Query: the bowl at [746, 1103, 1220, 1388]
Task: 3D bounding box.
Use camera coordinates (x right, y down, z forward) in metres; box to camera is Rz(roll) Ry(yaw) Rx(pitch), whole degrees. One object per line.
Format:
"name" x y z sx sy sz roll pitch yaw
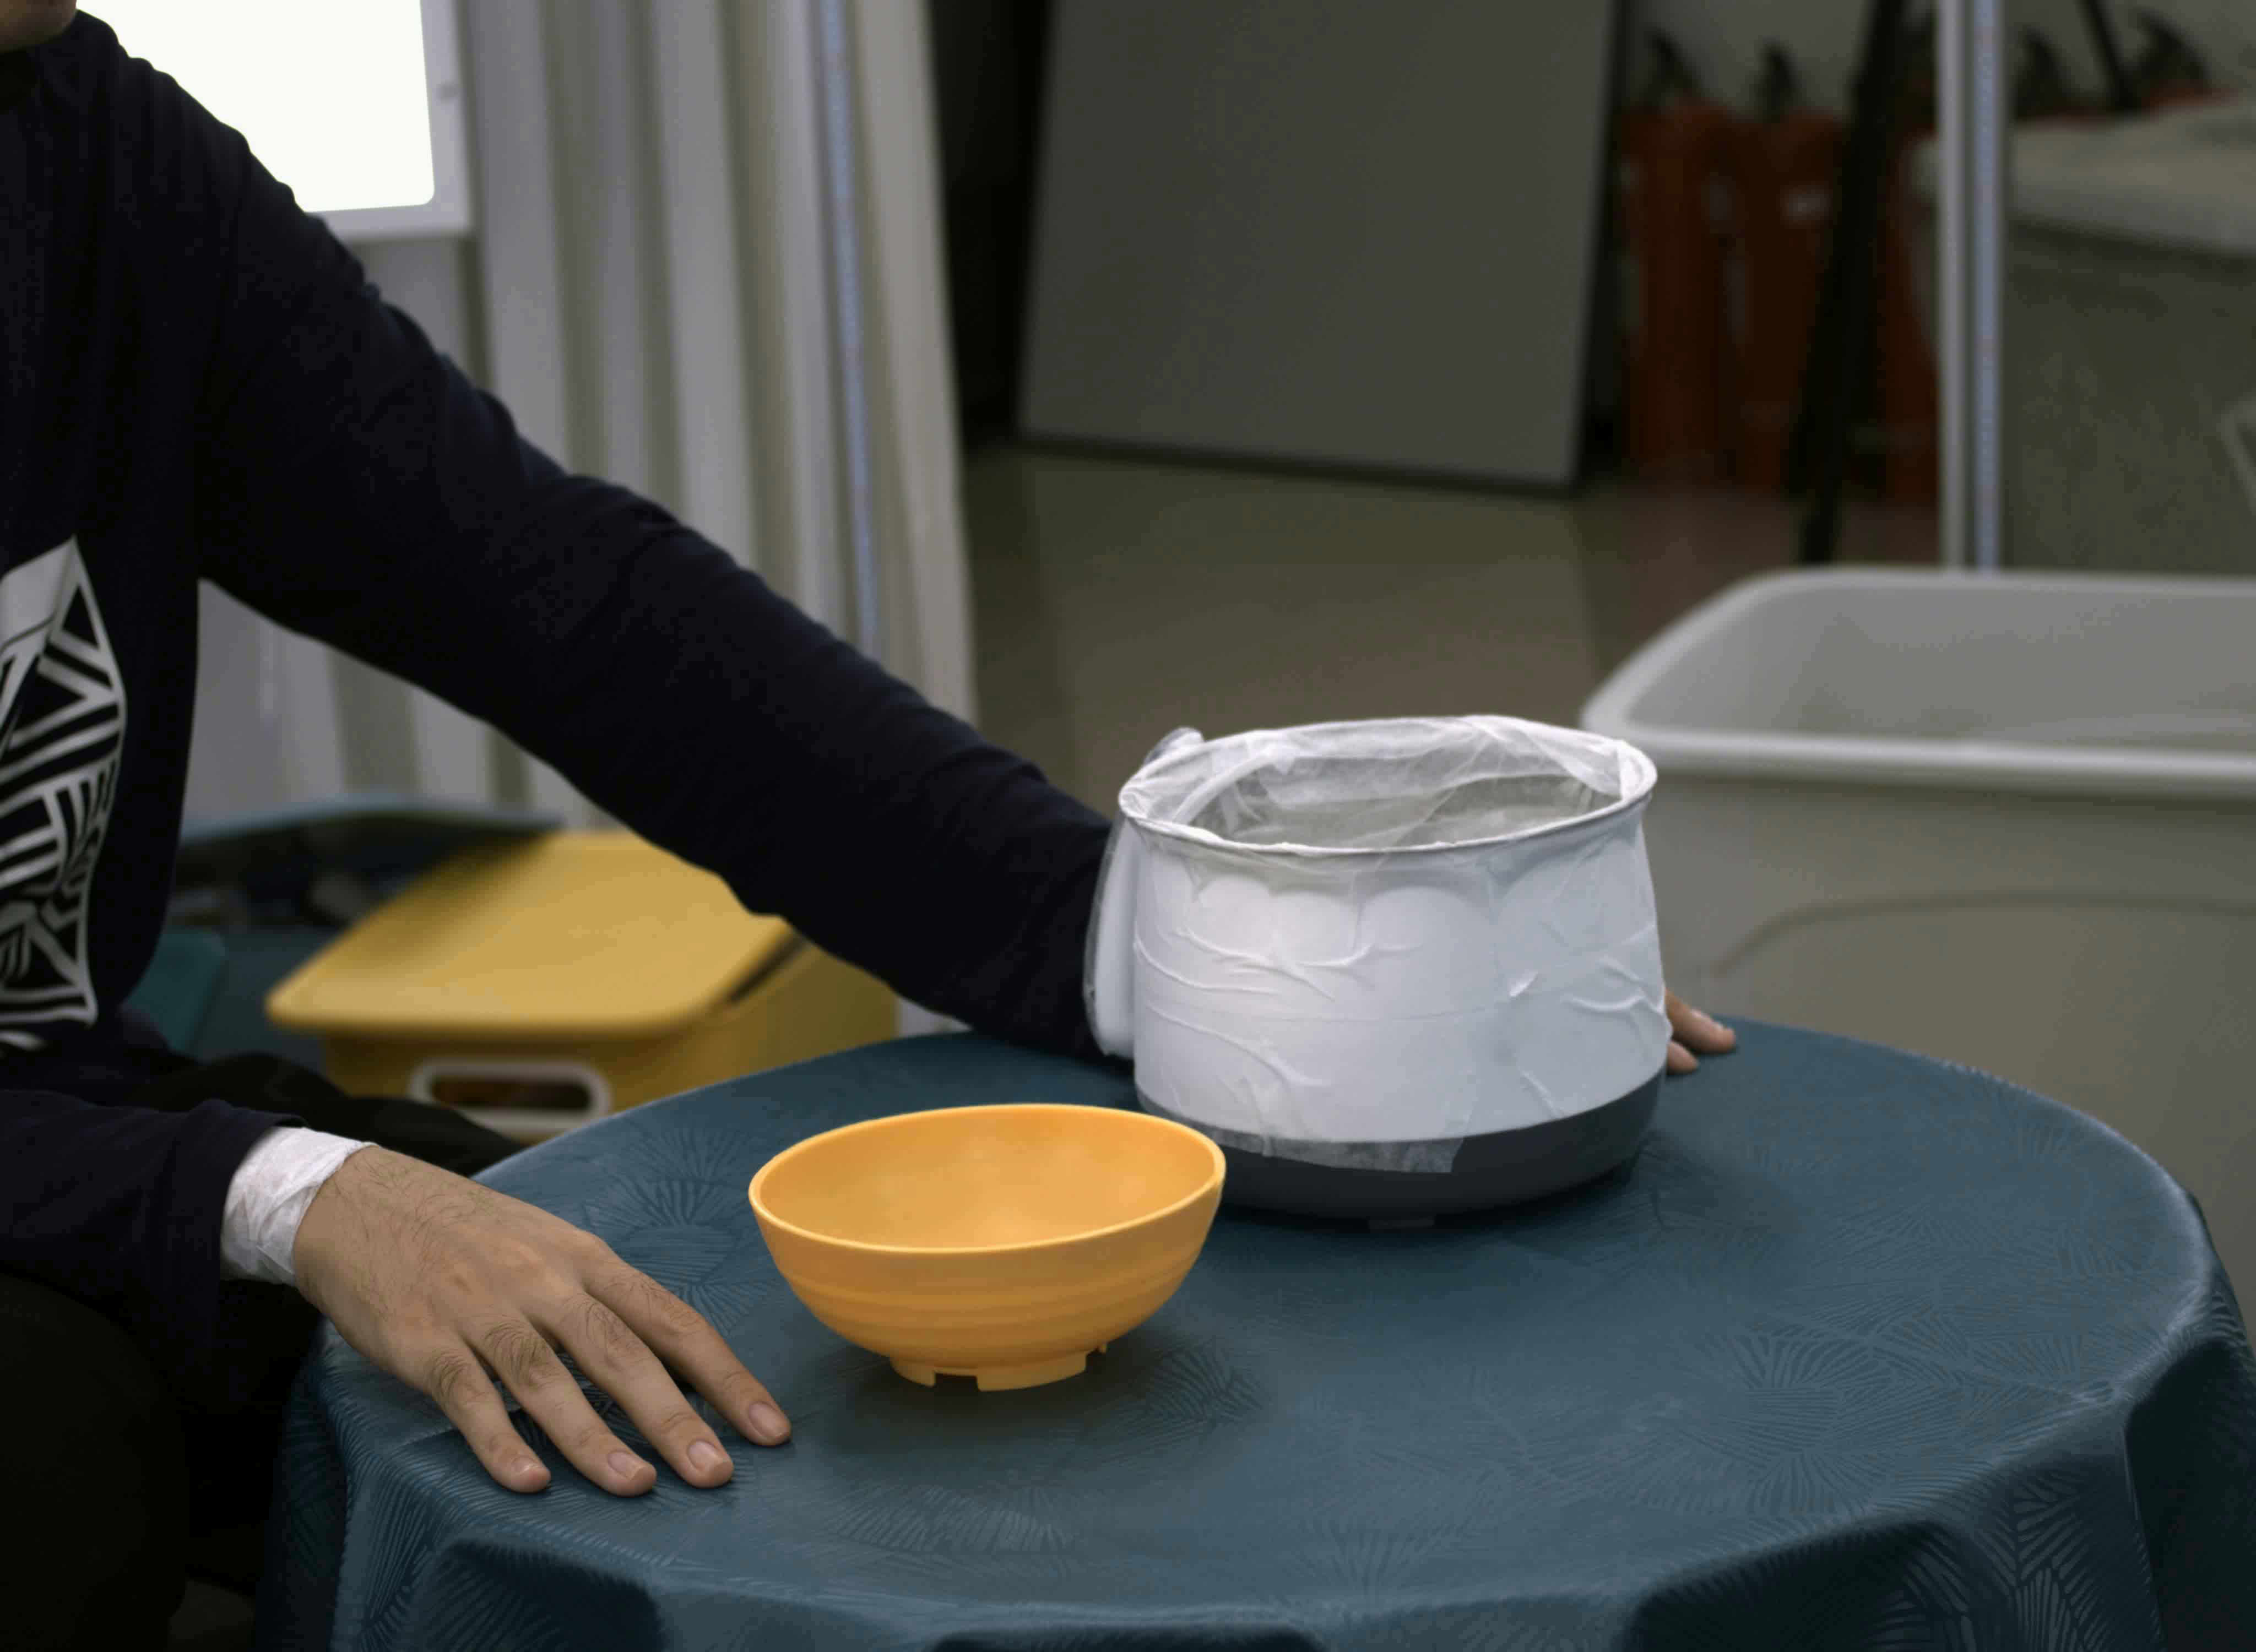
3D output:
"bowl" -0.042 0.130 1.617 0.143 0.061 0.145 -3 13 0

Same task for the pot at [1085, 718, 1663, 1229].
"pot" 0.069 0.042 1.787 0.175 0.138 0.236 -12 16 -41
